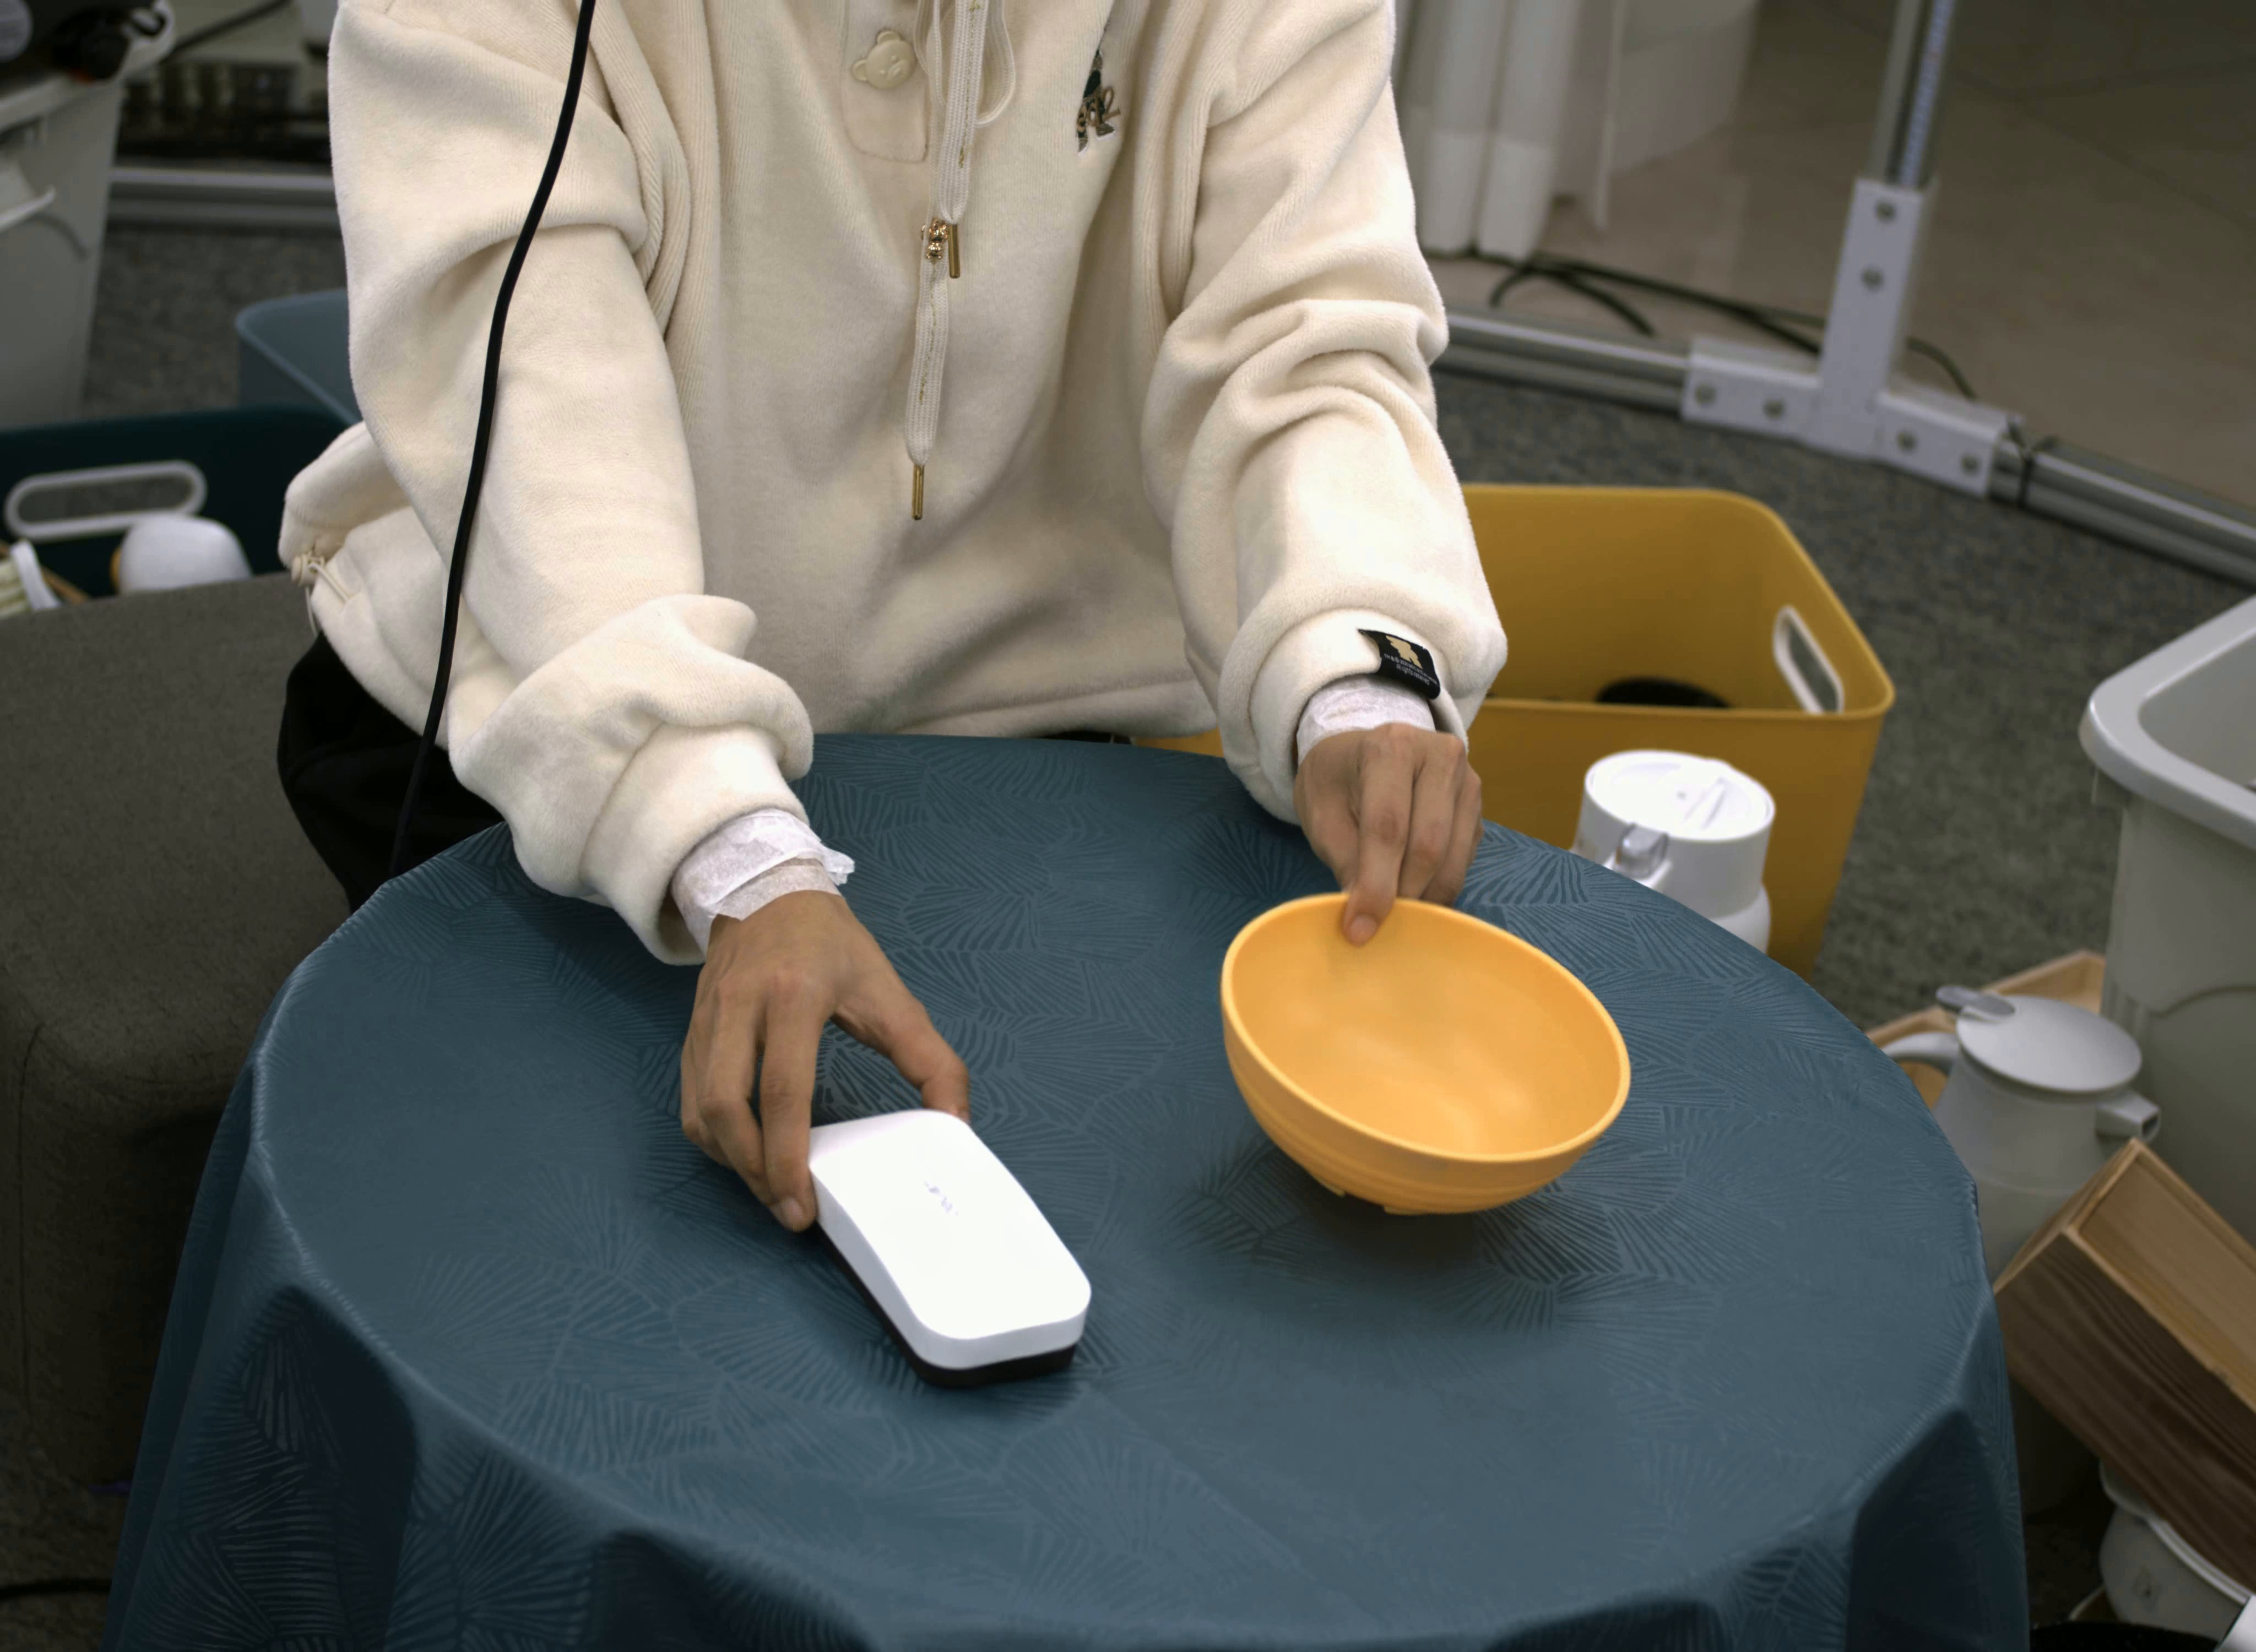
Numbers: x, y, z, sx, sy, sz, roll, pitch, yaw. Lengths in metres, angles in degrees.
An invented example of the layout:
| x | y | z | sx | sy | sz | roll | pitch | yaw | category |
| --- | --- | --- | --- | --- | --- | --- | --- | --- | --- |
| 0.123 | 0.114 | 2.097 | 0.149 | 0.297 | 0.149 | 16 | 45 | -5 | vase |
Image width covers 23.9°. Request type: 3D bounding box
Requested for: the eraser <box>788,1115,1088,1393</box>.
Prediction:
| x | y | z | sx | sy | sz | roll | pitch | yaw | category |
| --- | --- | --- | --- | --- | --- | --- | --- | --- | --- |
| -0.062 | 0.135 | 1.730 | 0.063 | 0.034 | 0.132 | -8 | 31 | -24 | eraser |

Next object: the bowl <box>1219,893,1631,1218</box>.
| x | y | z | sx | sy | sz | roll | pitch | yaw | category |
| --- | --- | --- | --- | --- | --- | --- | --- | --- | --- |
| 0.094 | 0.090 | 1.815 | 0.144 | 0.060 | 0.146 | 11 | 35 | -8 | bowl |
